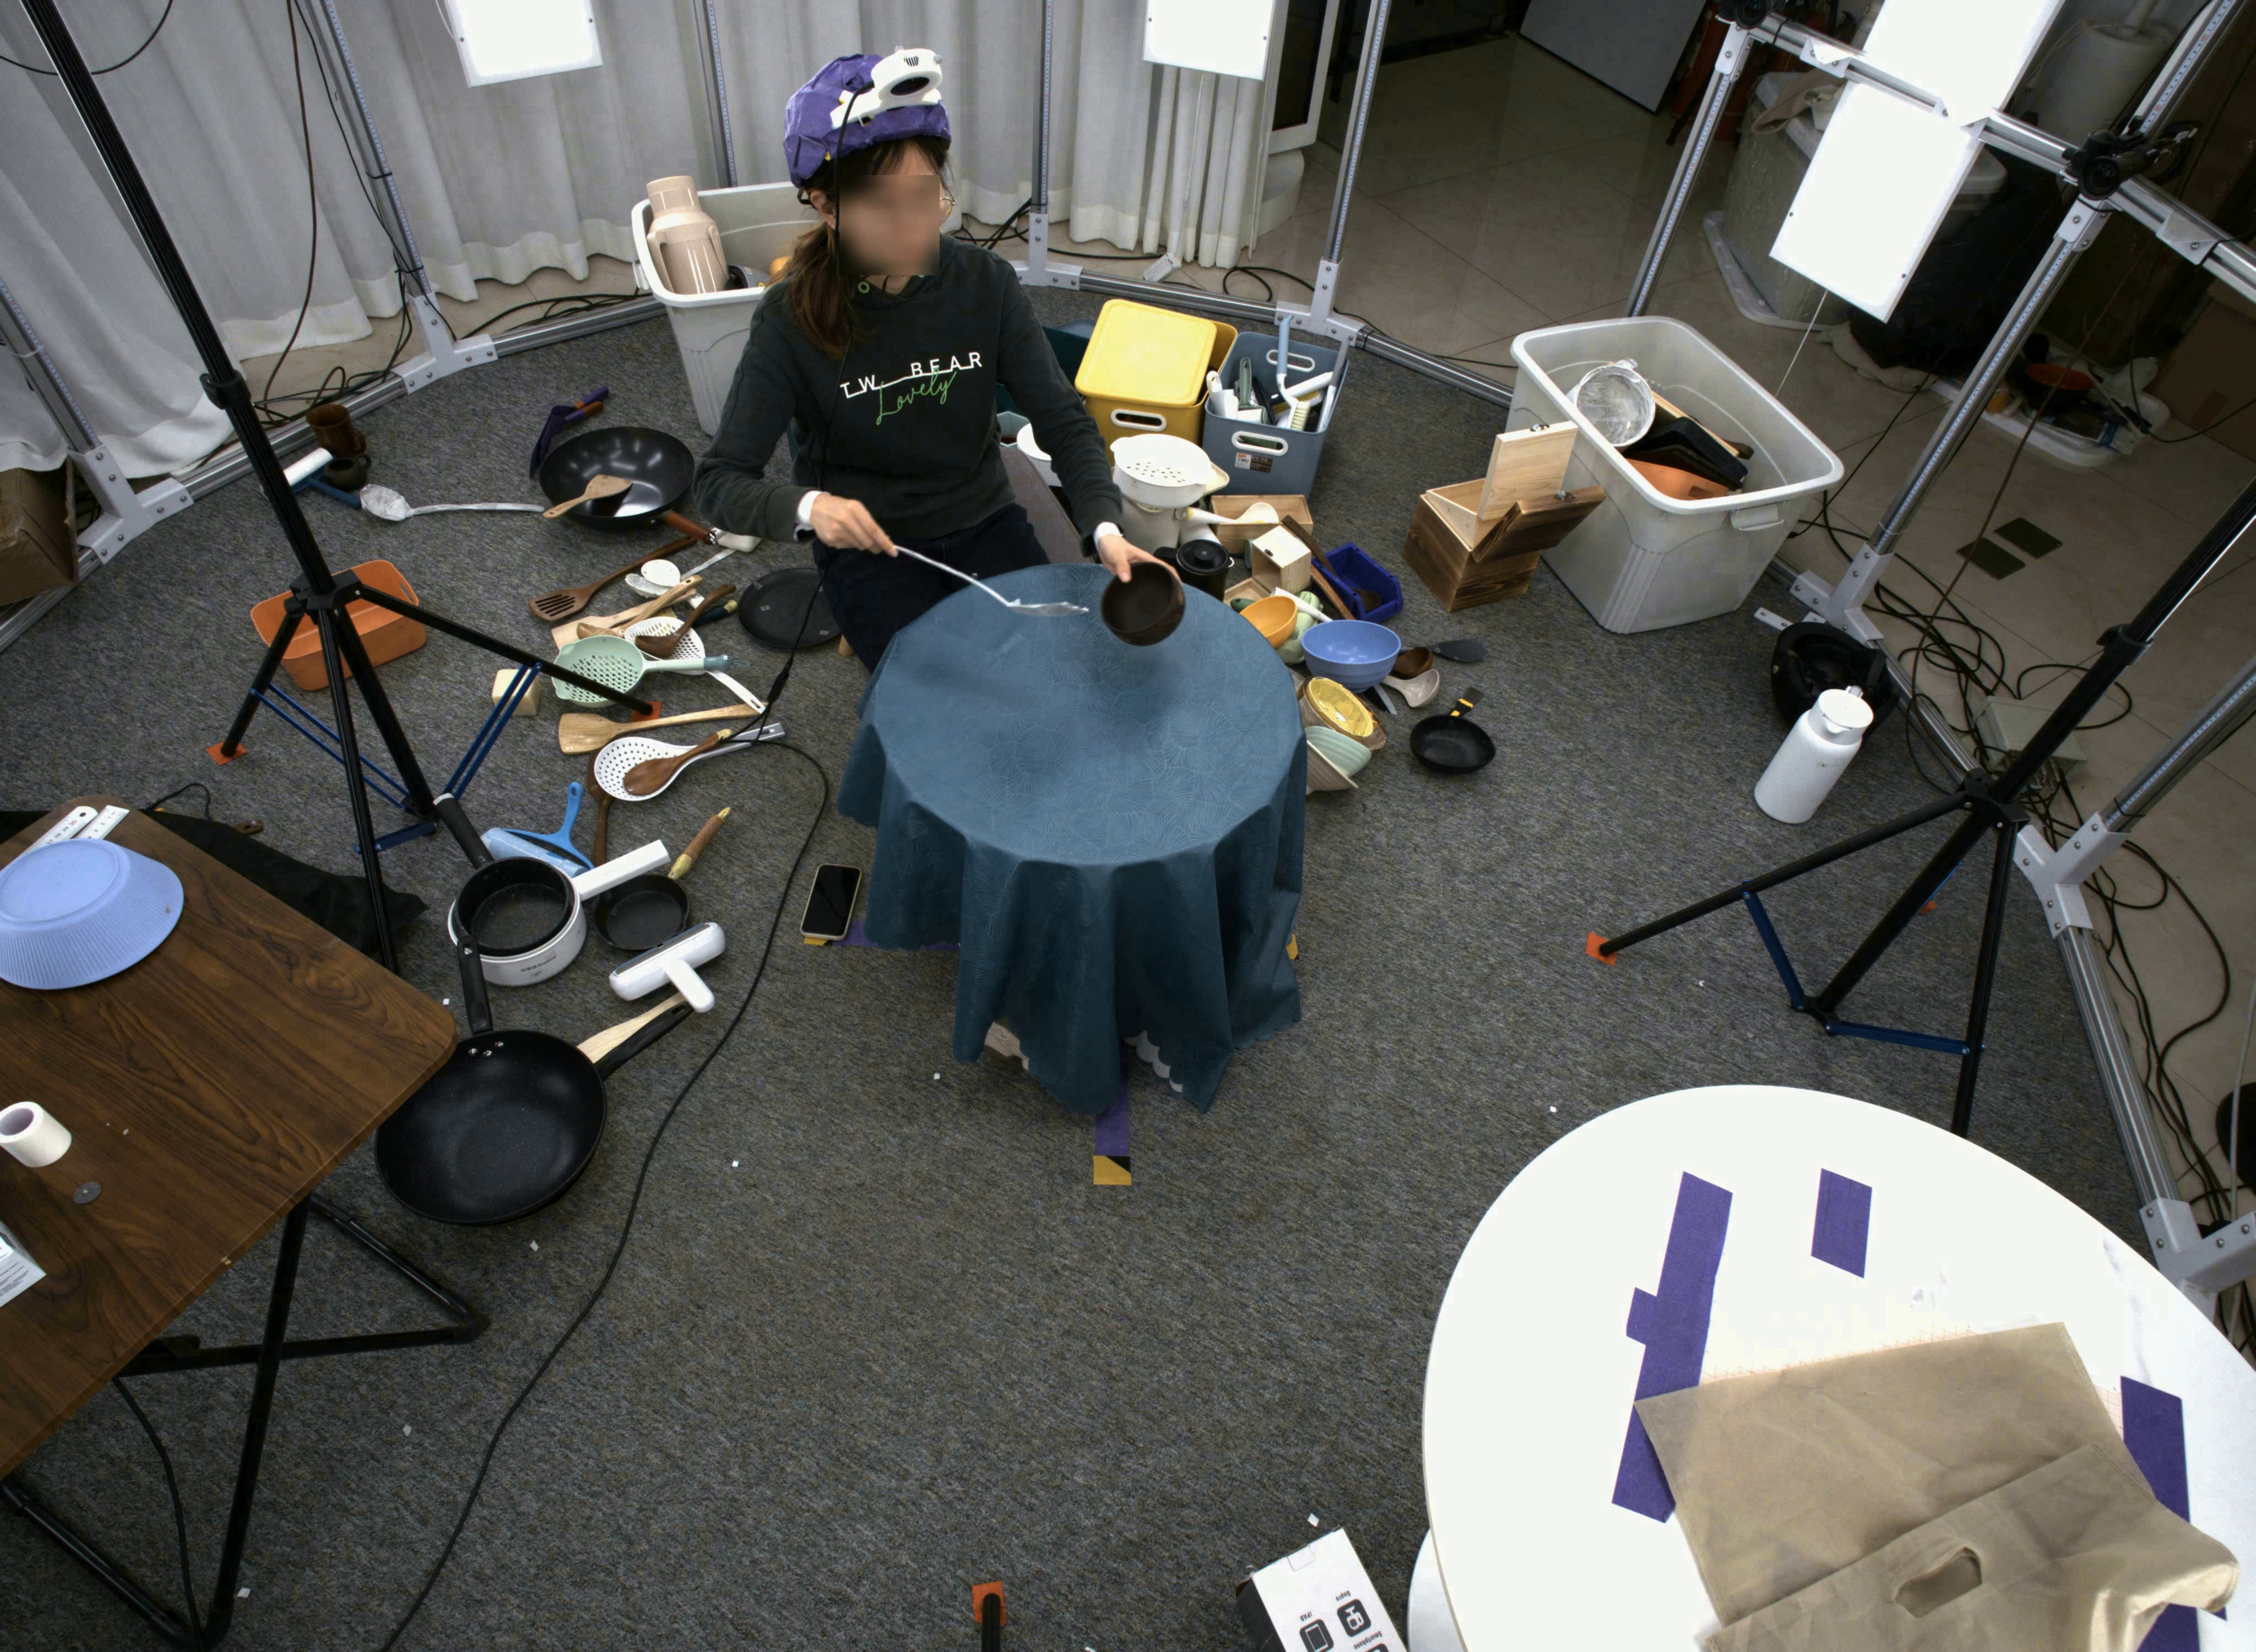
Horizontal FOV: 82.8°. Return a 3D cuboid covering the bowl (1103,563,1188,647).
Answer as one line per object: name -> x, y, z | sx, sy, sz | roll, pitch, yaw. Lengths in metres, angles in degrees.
bowl -> 0.031, -0.305, 1.819 | 0.118, 0.068, 0.120 | -11, 61, 22

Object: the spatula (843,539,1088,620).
spatula -> -0.226, -0.337, 1.732 | 0.367, 0.044, 0.099 | 25, 12, 13
